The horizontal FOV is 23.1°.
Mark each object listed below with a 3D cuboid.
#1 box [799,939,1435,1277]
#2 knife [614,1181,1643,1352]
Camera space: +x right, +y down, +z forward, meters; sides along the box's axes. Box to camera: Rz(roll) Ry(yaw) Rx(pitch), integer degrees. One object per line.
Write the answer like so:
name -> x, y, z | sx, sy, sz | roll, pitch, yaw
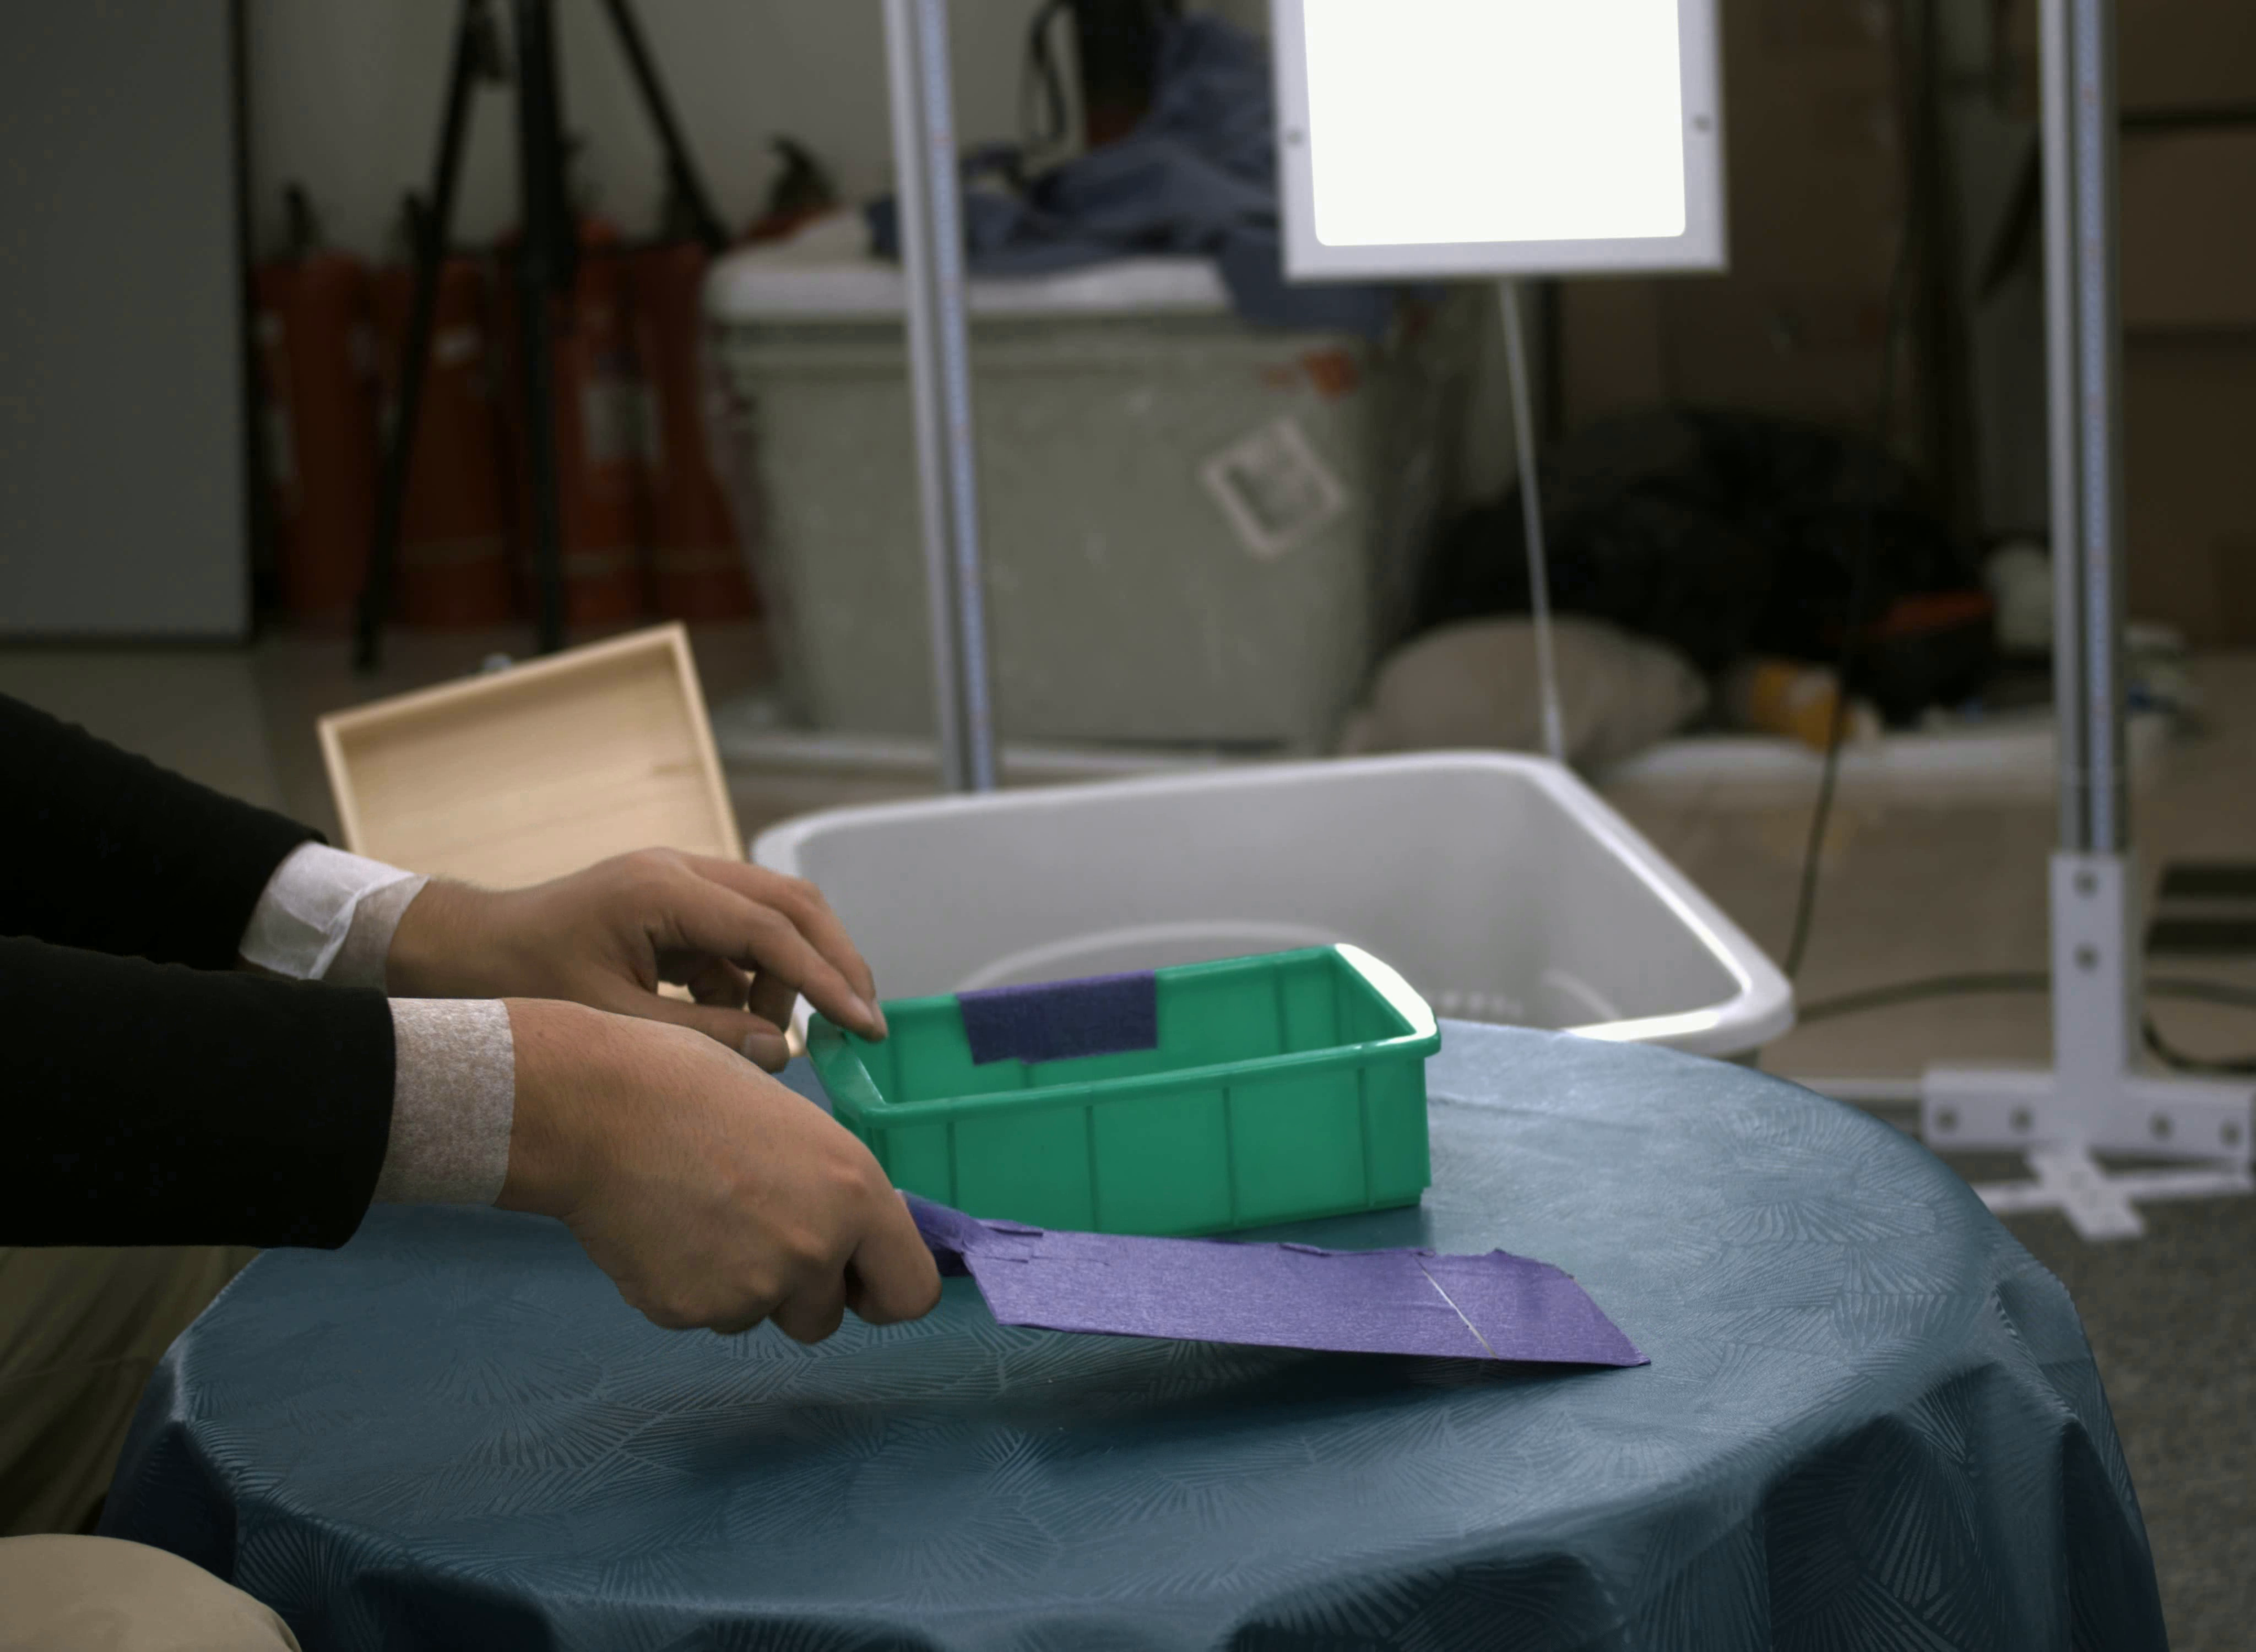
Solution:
box -> -0.003, 0.097, 1.891 | 0.208, 0.065, 0.139 | -9, 13, -9
knife -> 0.003, 0.137, 1.697 | 0.311, 0.032, 0.104 | 2, 13, -12
